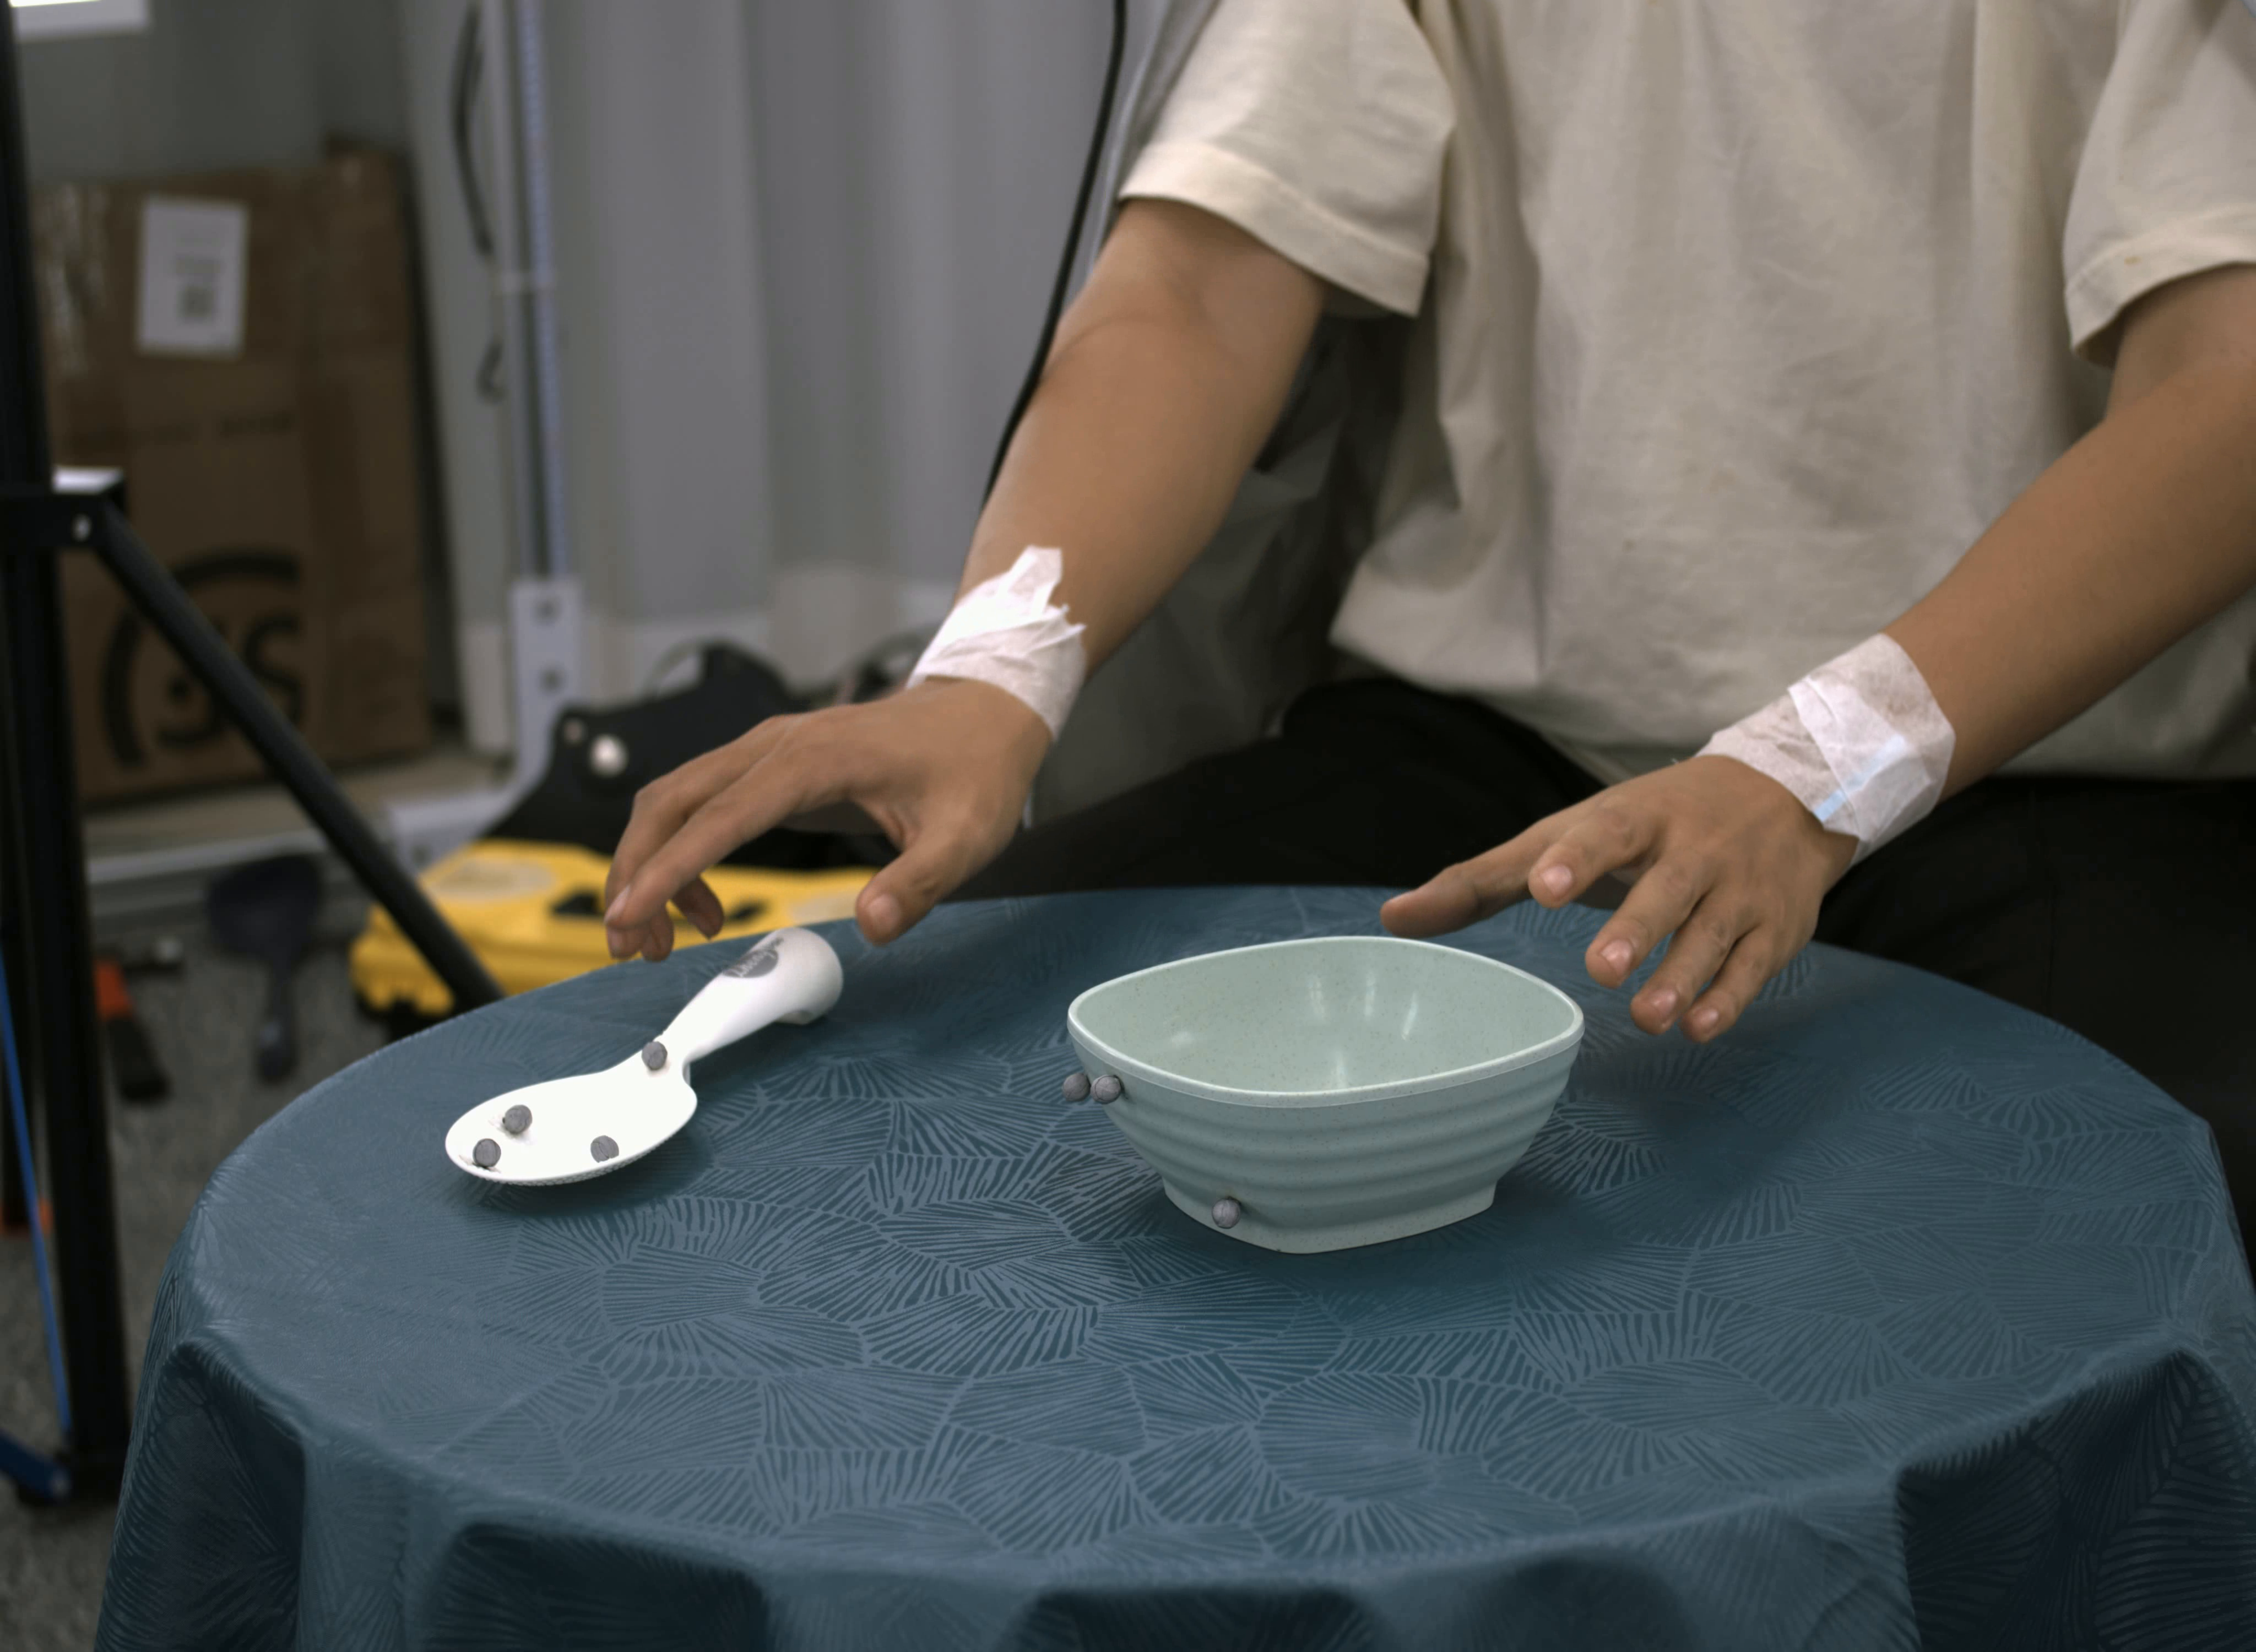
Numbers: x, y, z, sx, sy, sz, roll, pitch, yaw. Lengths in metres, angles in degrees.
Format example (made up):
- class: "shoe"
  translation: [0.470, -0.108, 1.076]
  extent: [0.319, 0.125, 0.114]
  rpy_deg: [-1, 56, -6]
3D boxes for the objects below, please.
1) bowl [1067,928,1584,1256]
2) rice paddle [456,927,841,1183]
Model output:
- class: "bowl"
  translation: [0.059, 0.080, 1.537]
  extent: [0.151, 0.058, 0.152]
  rpy_deg: [-5, 16, 0]
- class: "rice paddle"
  translation: [-0.143, 0.073, 1.647]
  extent: [0.069, 0.029, 0.202]
  rpy_deg: [2, 16, 22]
